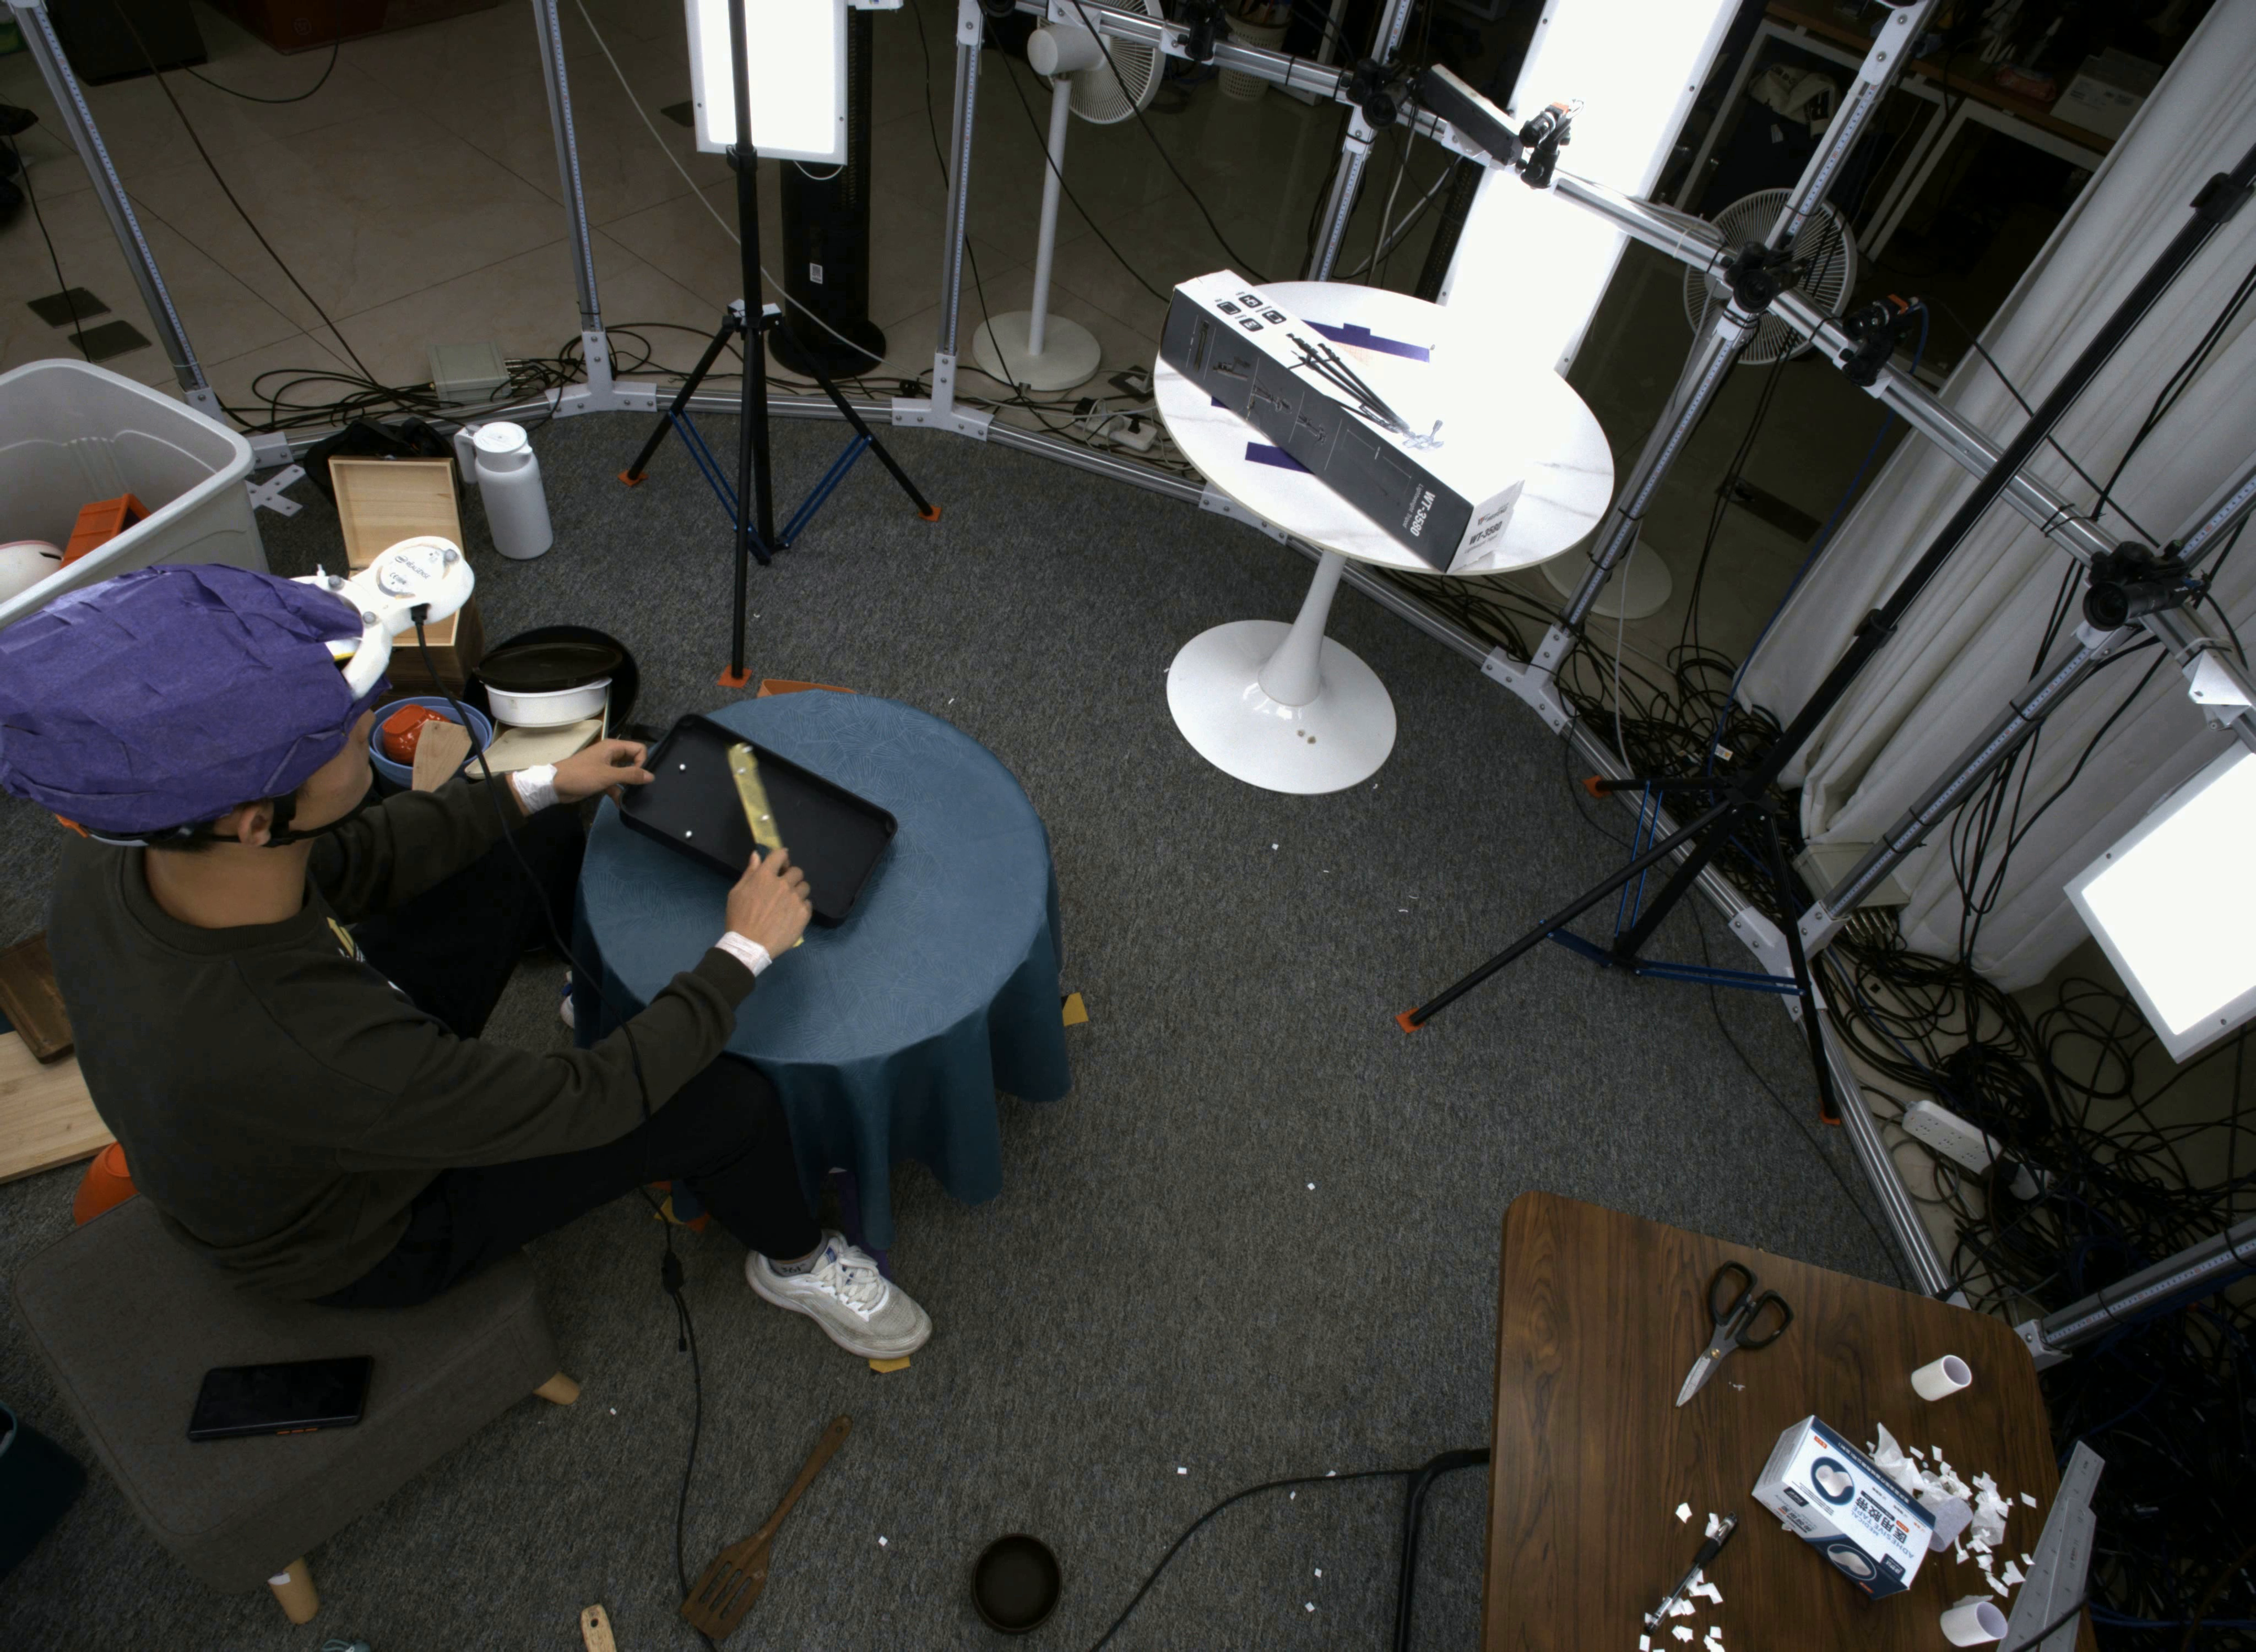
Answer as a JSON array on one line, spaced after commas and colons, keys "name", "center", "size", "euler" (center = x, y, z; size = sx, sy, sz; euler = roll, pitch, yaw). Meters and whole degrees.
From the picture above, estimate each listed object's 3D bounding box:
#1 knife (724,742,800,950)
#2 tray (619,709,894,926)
[{"name": "knife", "center": [-0.448, 0.020, 1.588], "size": [0.027, 0.083, 0.286], "euler": [-24, 72, 6]}, {"name": "tray", "center": [-0.475, -0.013, 1.661], "size": [0.320, 0.037, 0.182], "euler": [27, 53, -11]}]
